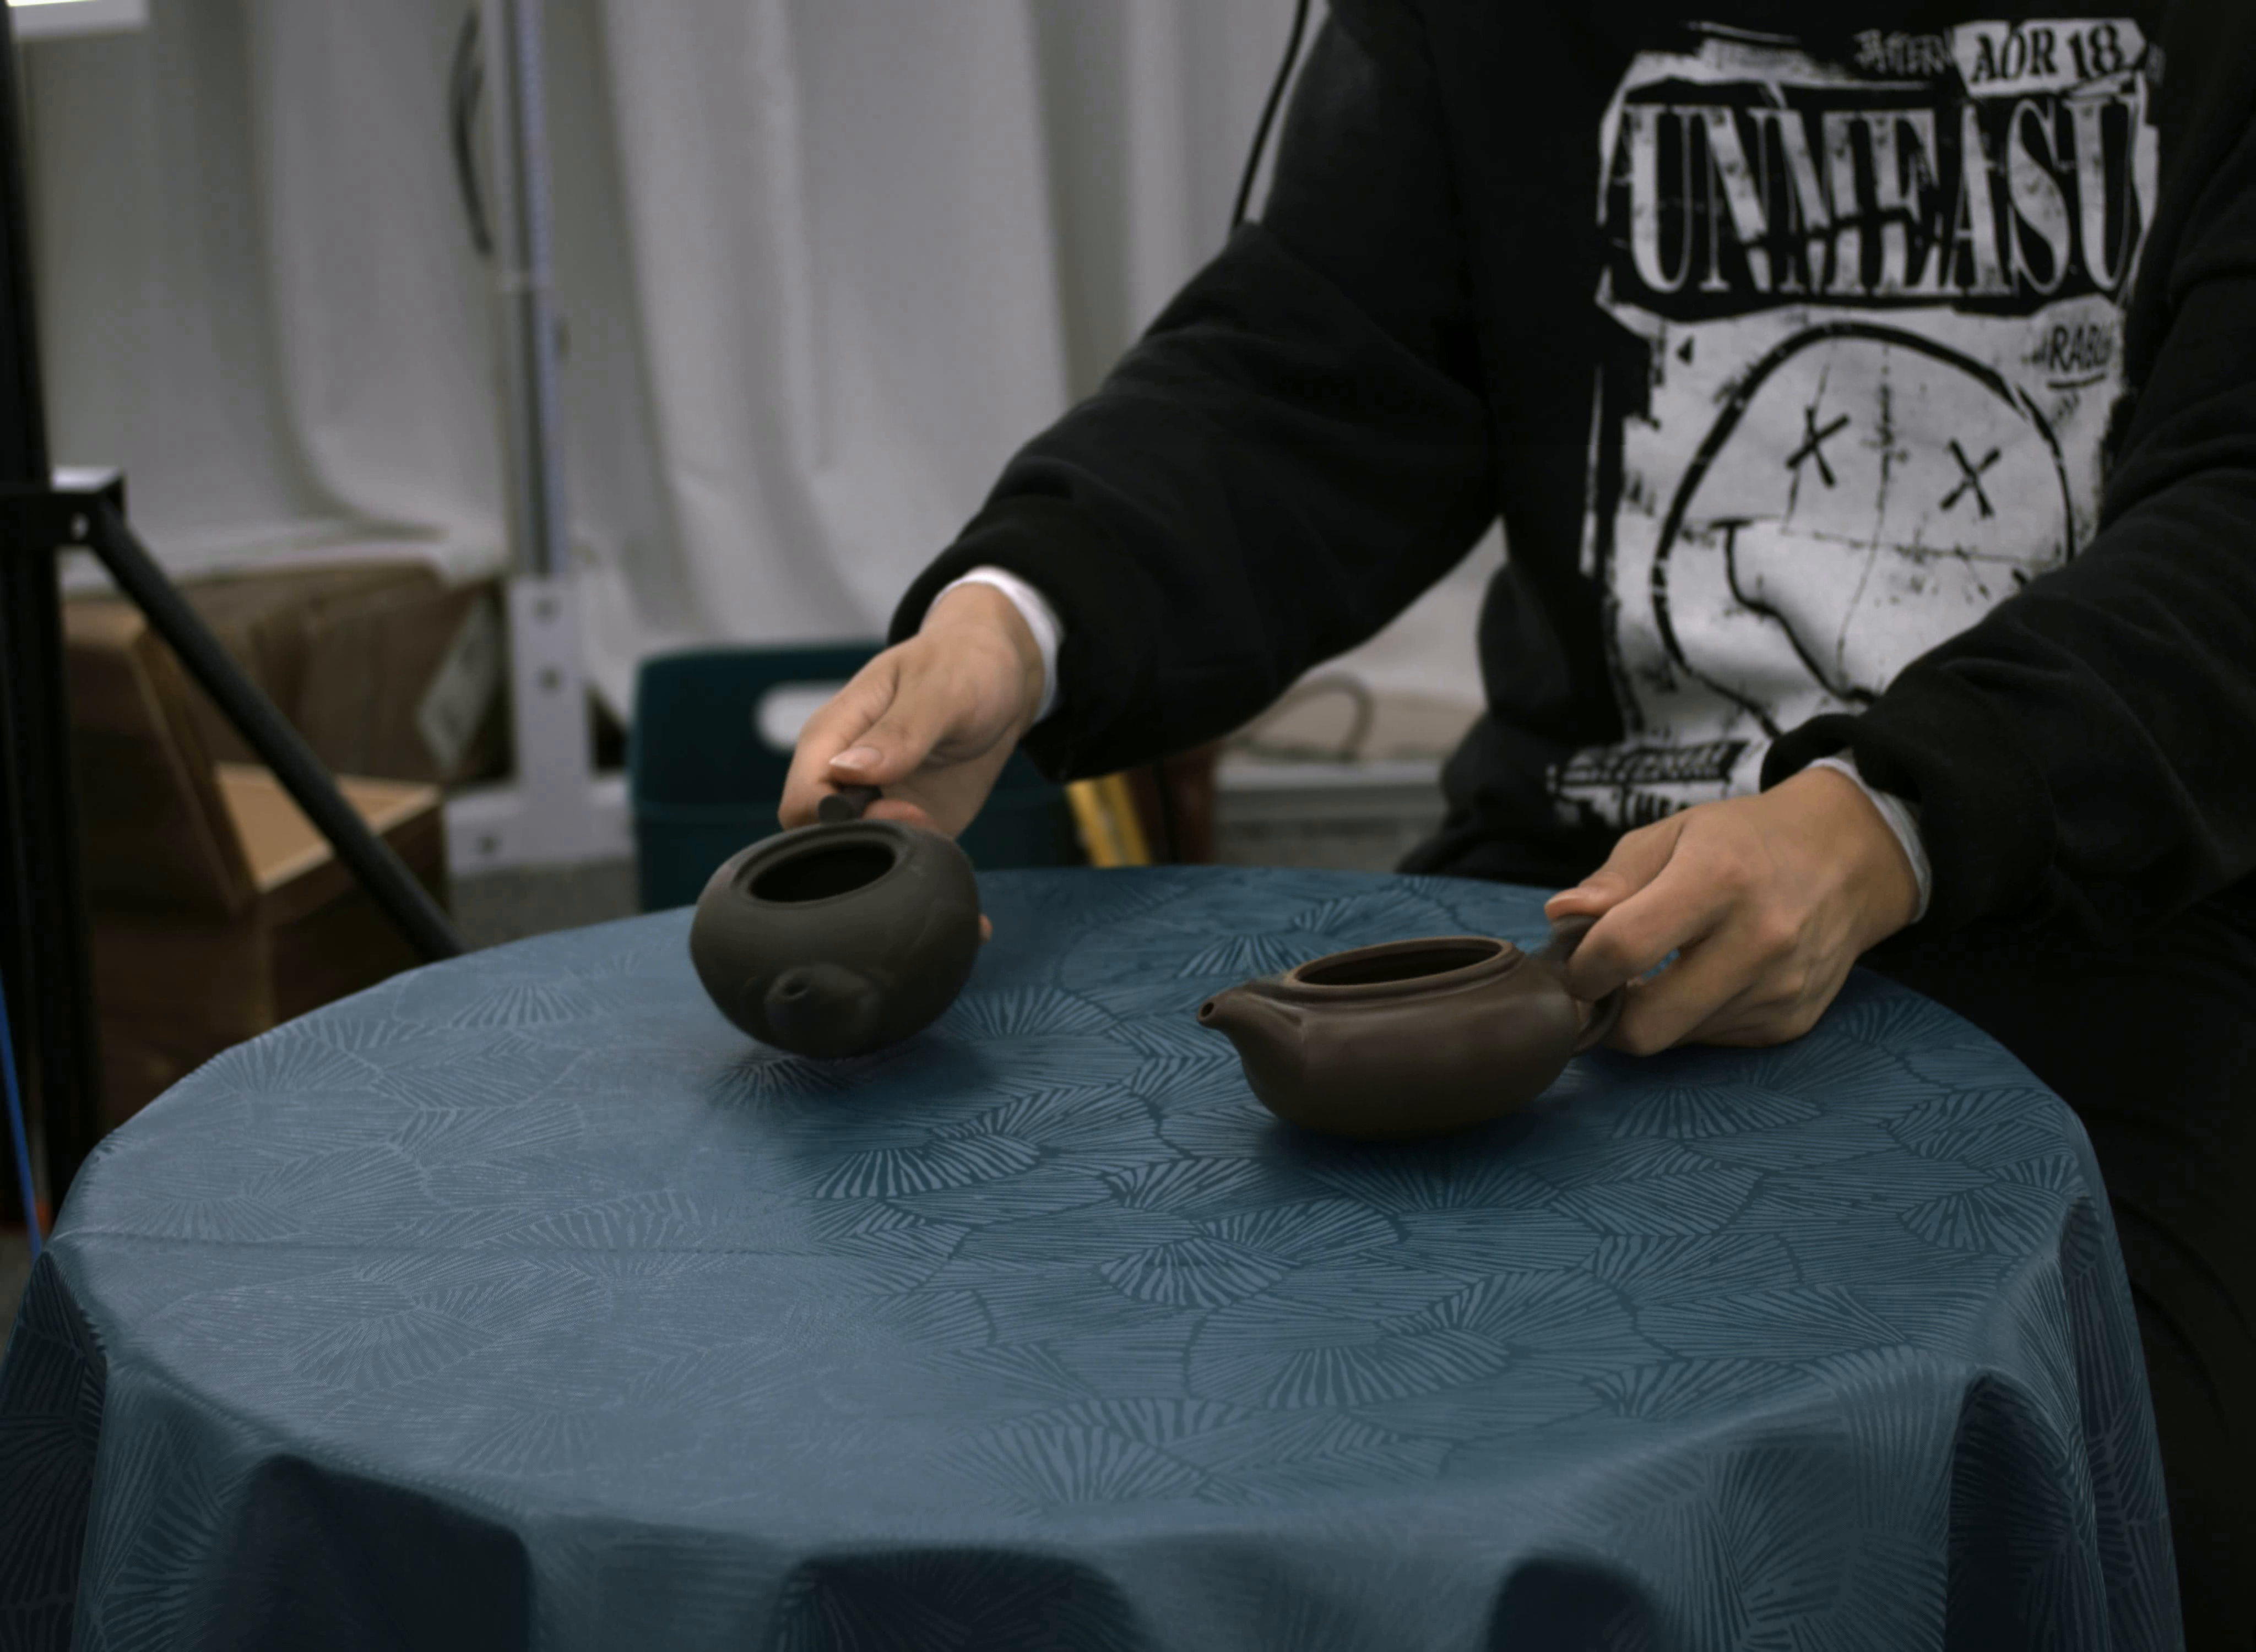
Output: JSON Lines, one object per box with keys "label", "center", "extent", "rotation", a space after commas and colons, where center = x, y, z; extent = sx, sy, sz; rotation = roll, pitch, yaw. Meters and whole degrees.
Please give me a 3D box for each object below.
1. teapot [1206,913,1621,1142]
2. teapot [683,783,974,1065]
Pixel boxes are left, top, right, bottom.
{"label": "teapot", "center": [0.088, 0.061, 1.593], "extent": [0.150, 0.054, 0.105], "rotation": [-16, 13, -35]}
{"label": "teapot", "center": [-0.093, 0.034, 1.686], "extent": [0.093, 0.064, 0.154], "rotation": [-4, 26, 12]}
